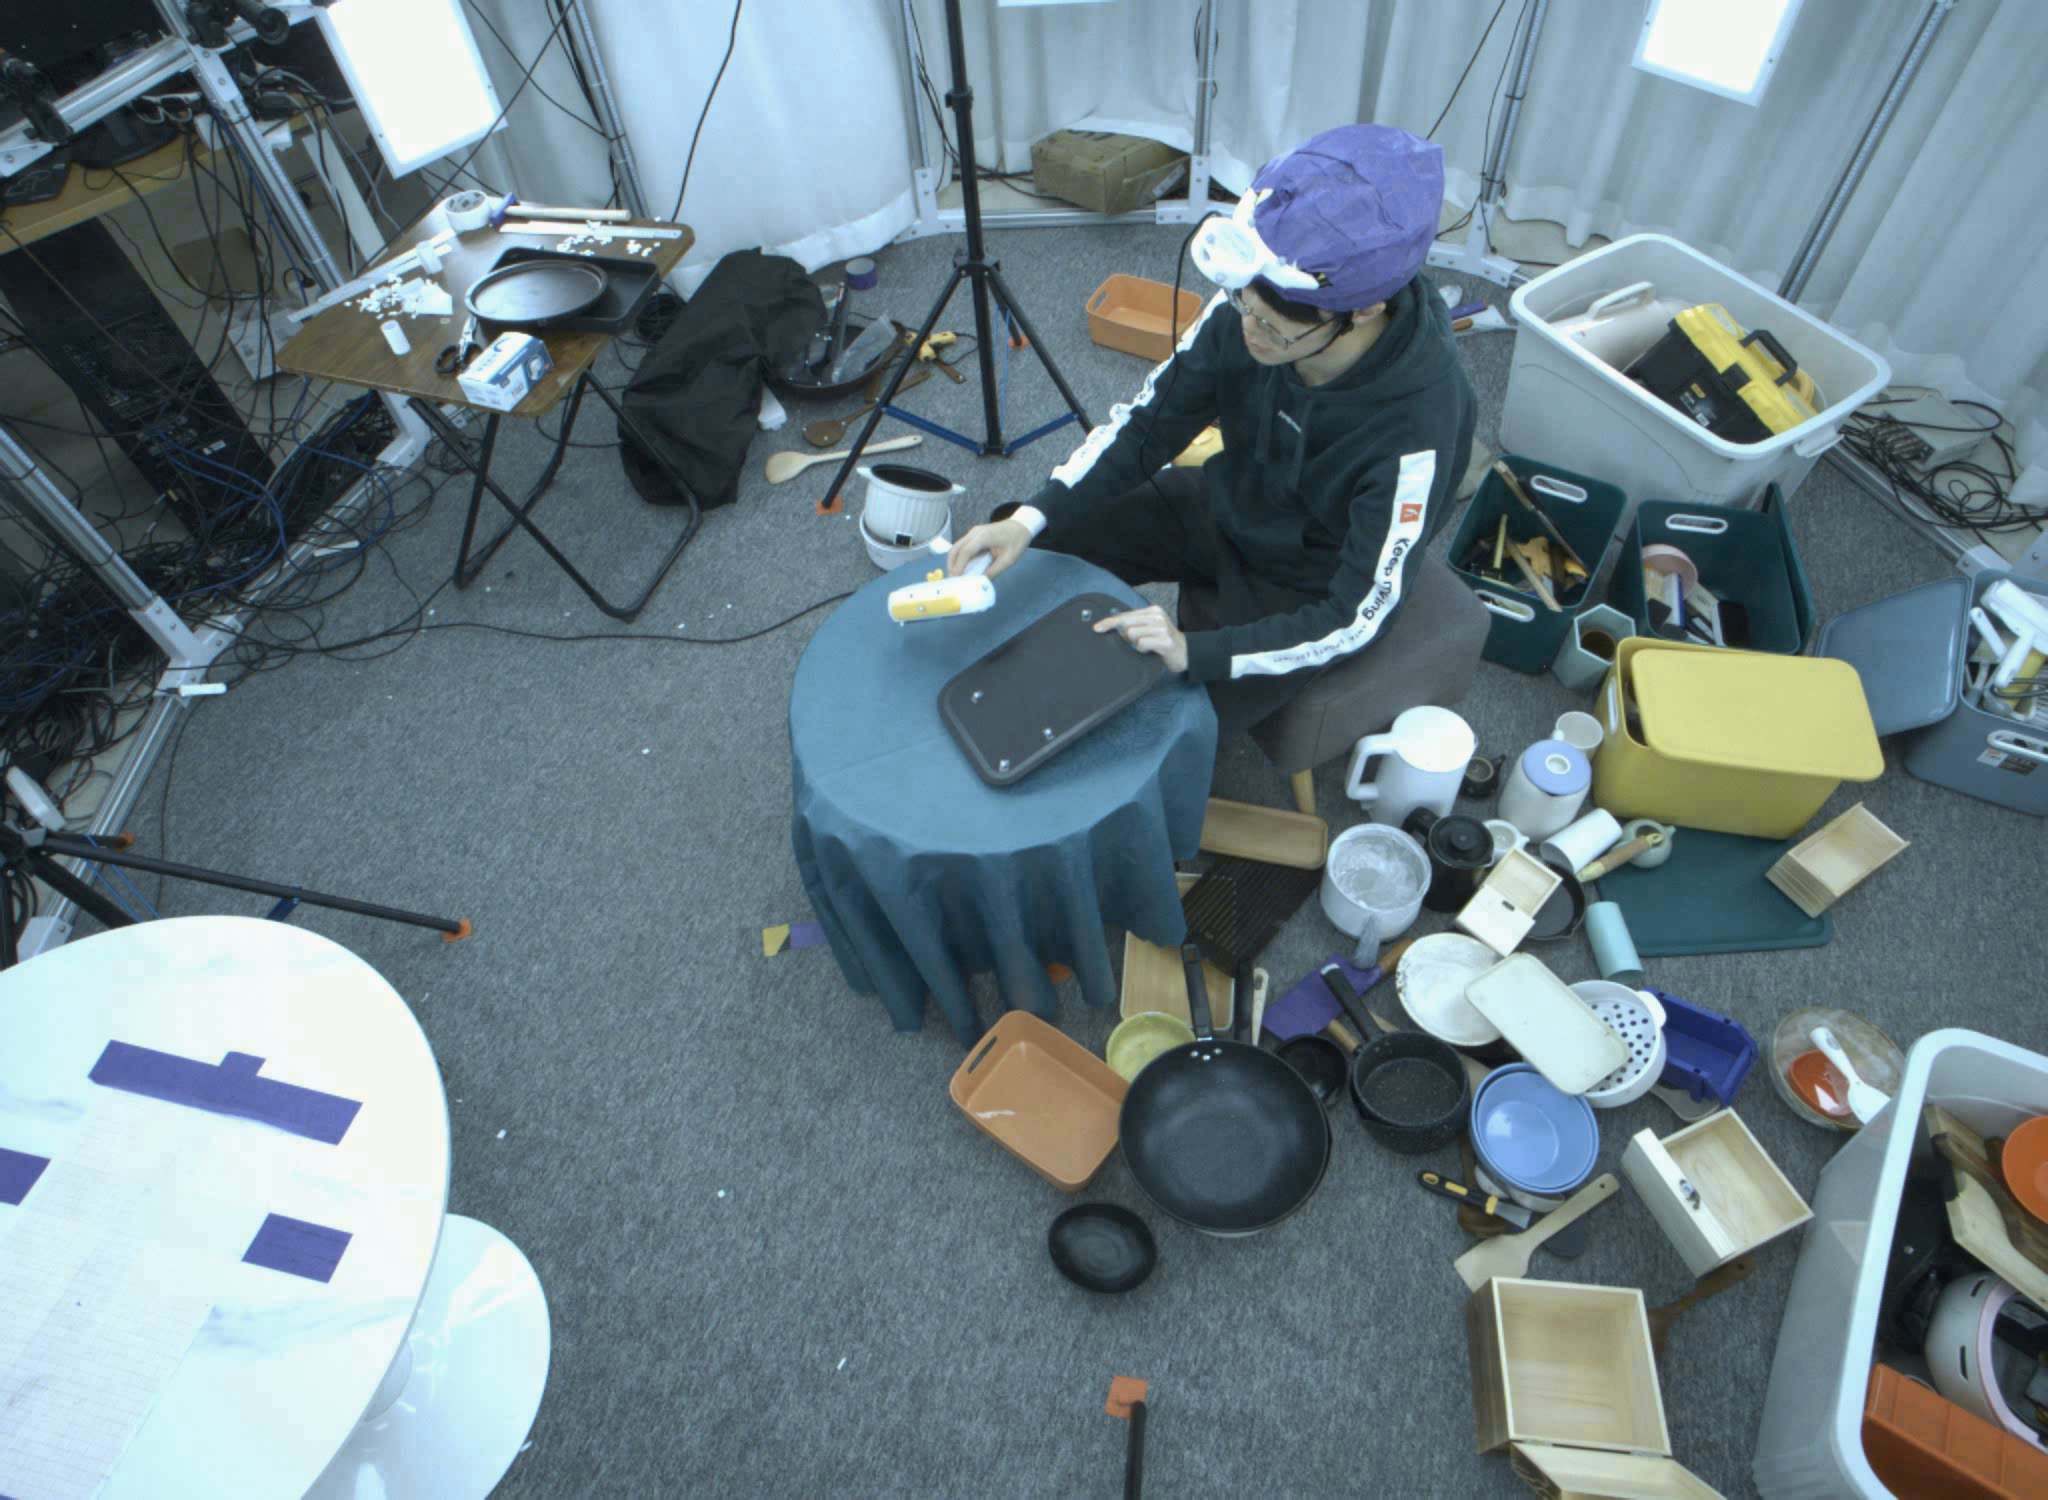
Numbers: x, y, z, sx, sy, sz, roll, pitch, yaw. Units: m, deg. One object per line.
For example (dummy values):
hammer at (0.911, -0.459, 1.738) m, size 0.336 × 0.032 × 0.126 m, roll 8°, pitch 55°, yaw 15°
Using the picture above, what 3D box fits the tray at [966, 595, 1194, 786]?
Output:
tray at (0.082, -0.095, 1.771) m, size 0.325 × 0.010 × 0.207 m, roll -32°, pitch 60°, yaw -1°

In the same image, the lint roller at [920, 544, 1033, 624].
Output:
lint roller at (-0.043, -0.253, 1.848) m, size 0.189 × 0.075 × 0.194 m, roll -6°, pitch 23°, yaw 40°
